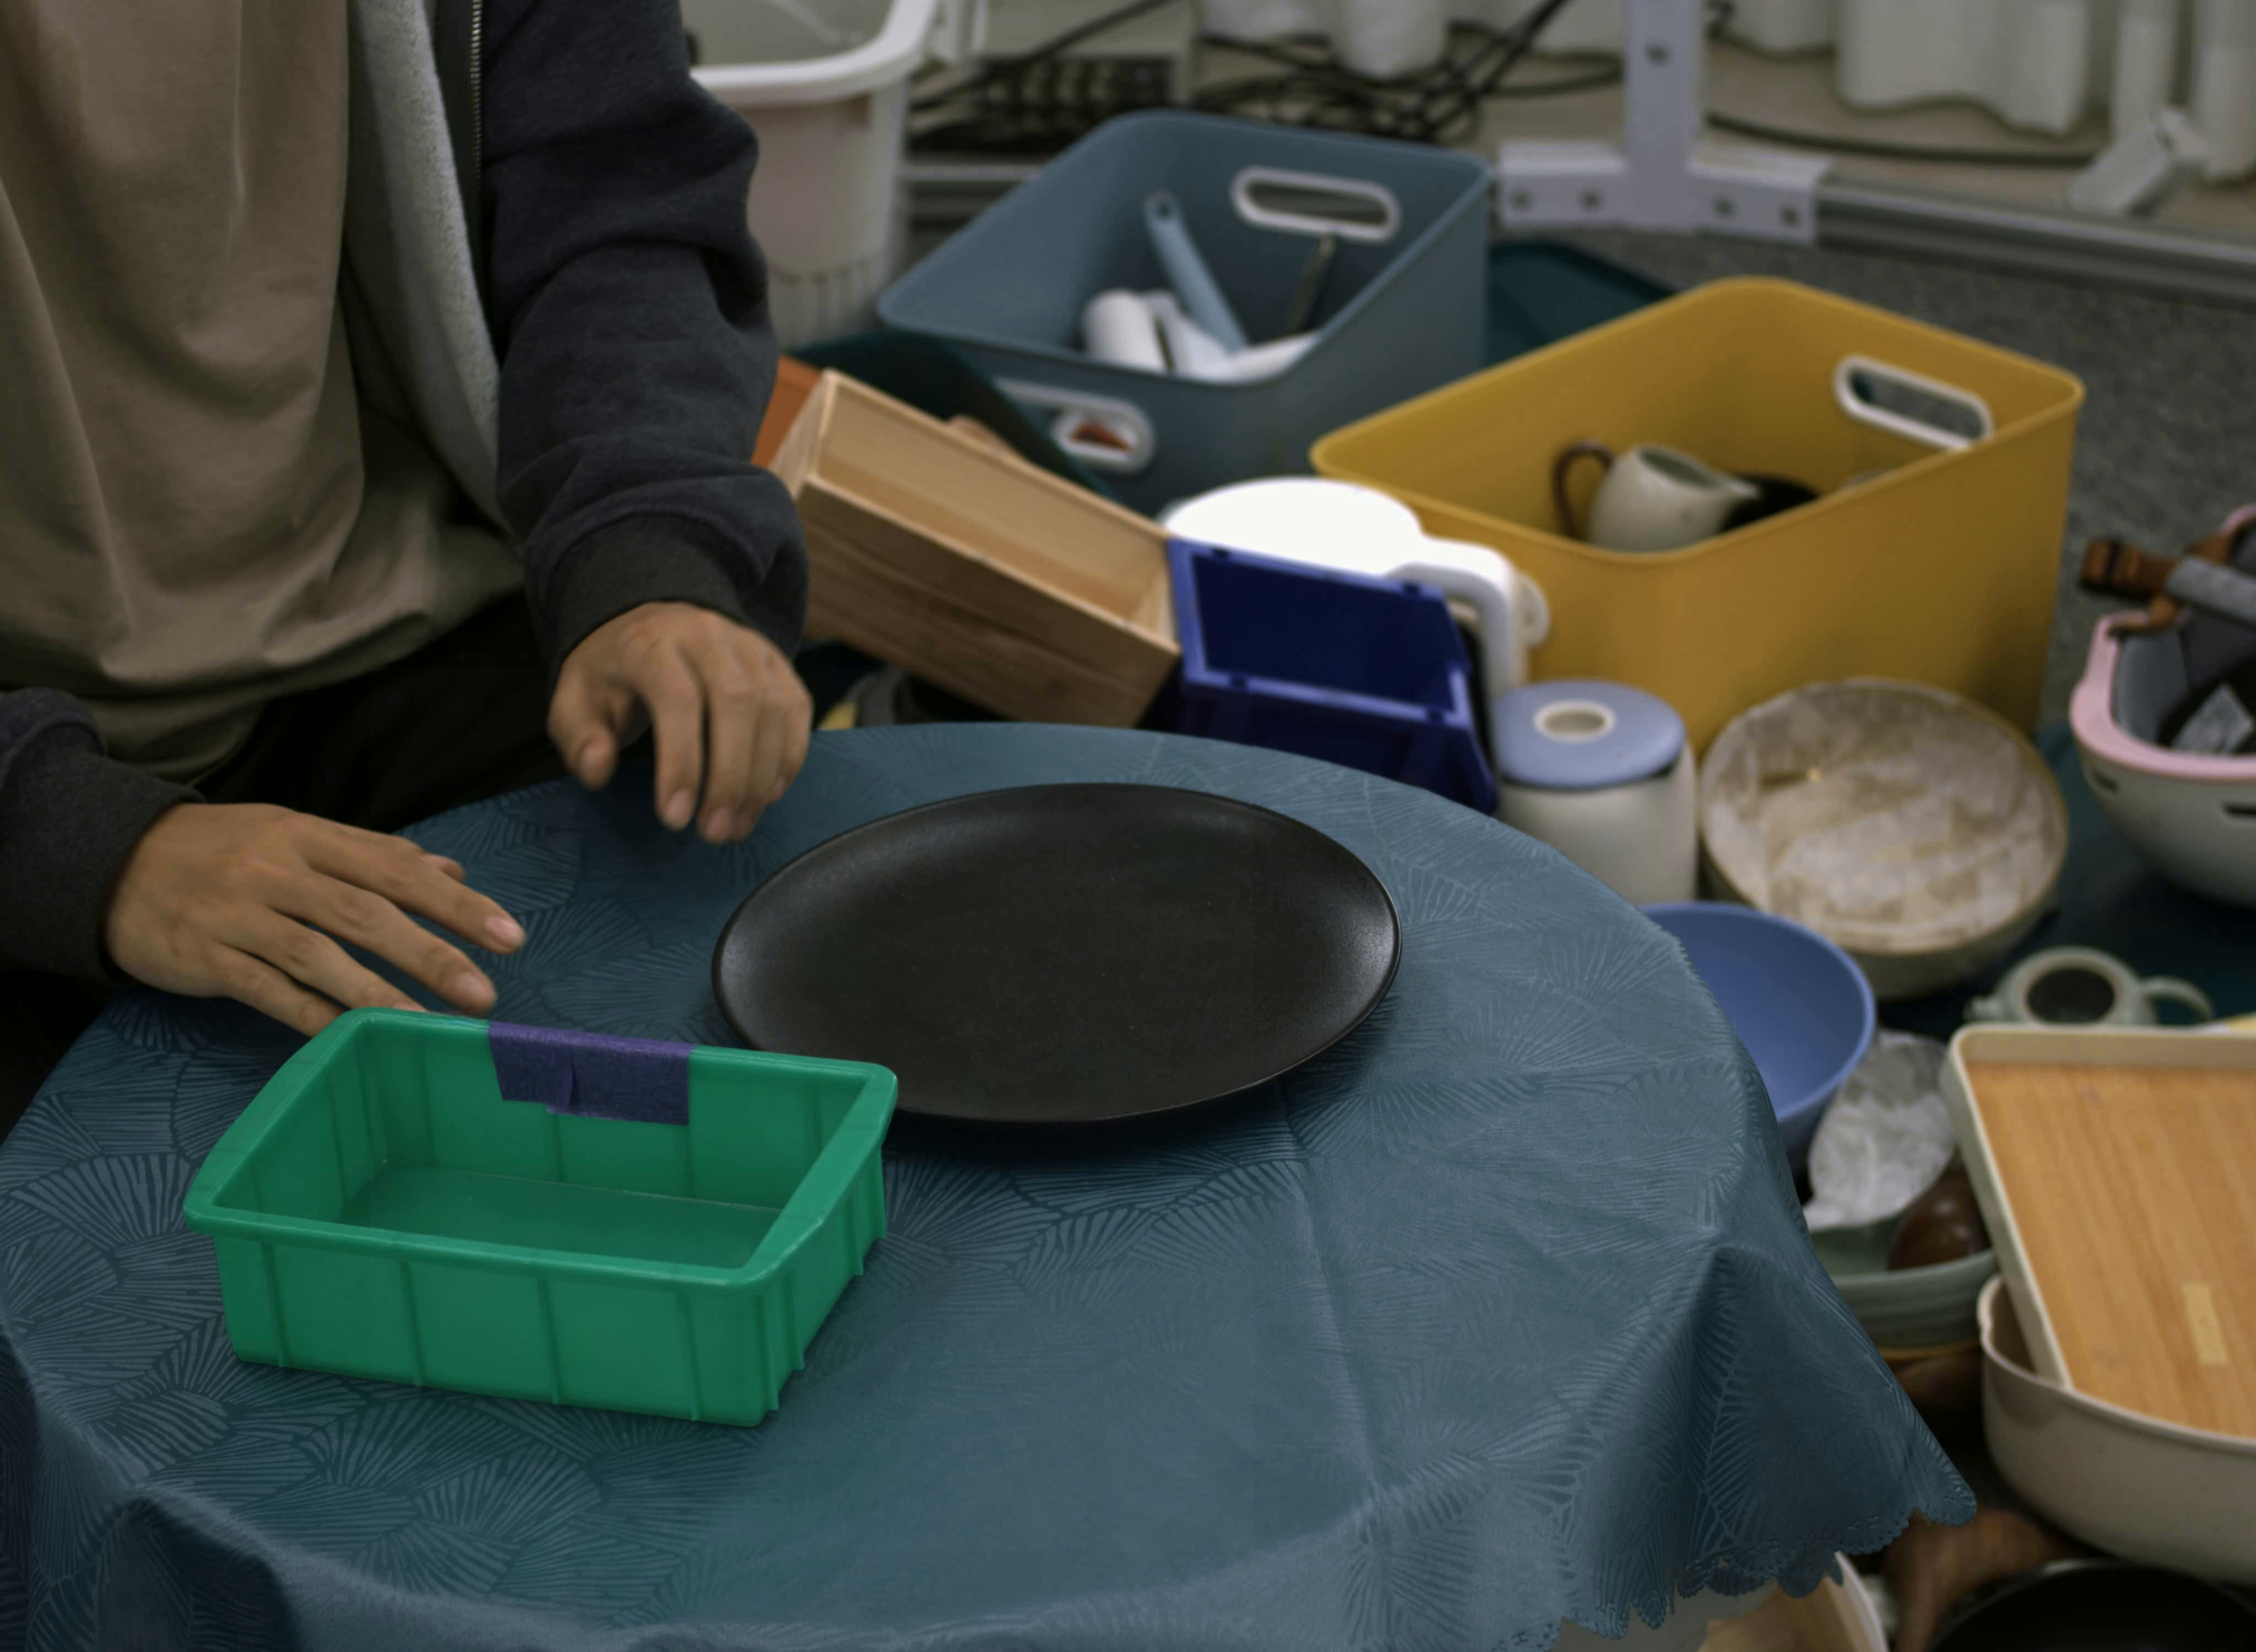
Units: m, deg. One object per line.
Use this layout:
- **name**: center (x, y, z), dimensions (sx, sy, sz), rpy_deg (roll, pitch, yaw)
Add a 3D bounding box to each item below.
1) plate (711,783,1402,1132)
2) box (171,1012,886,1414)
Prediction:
- **plate**: center (-0.025, 0.051, 1.977), dimensions (0.243, 0.023, 0.248), rpy_deg (-2, 28, 2)
- **box**: center (-0.188, 0.126, 1.805), dimensions (0.209, 0.065, 0.141), rpy_deg (3, 26, 16)
